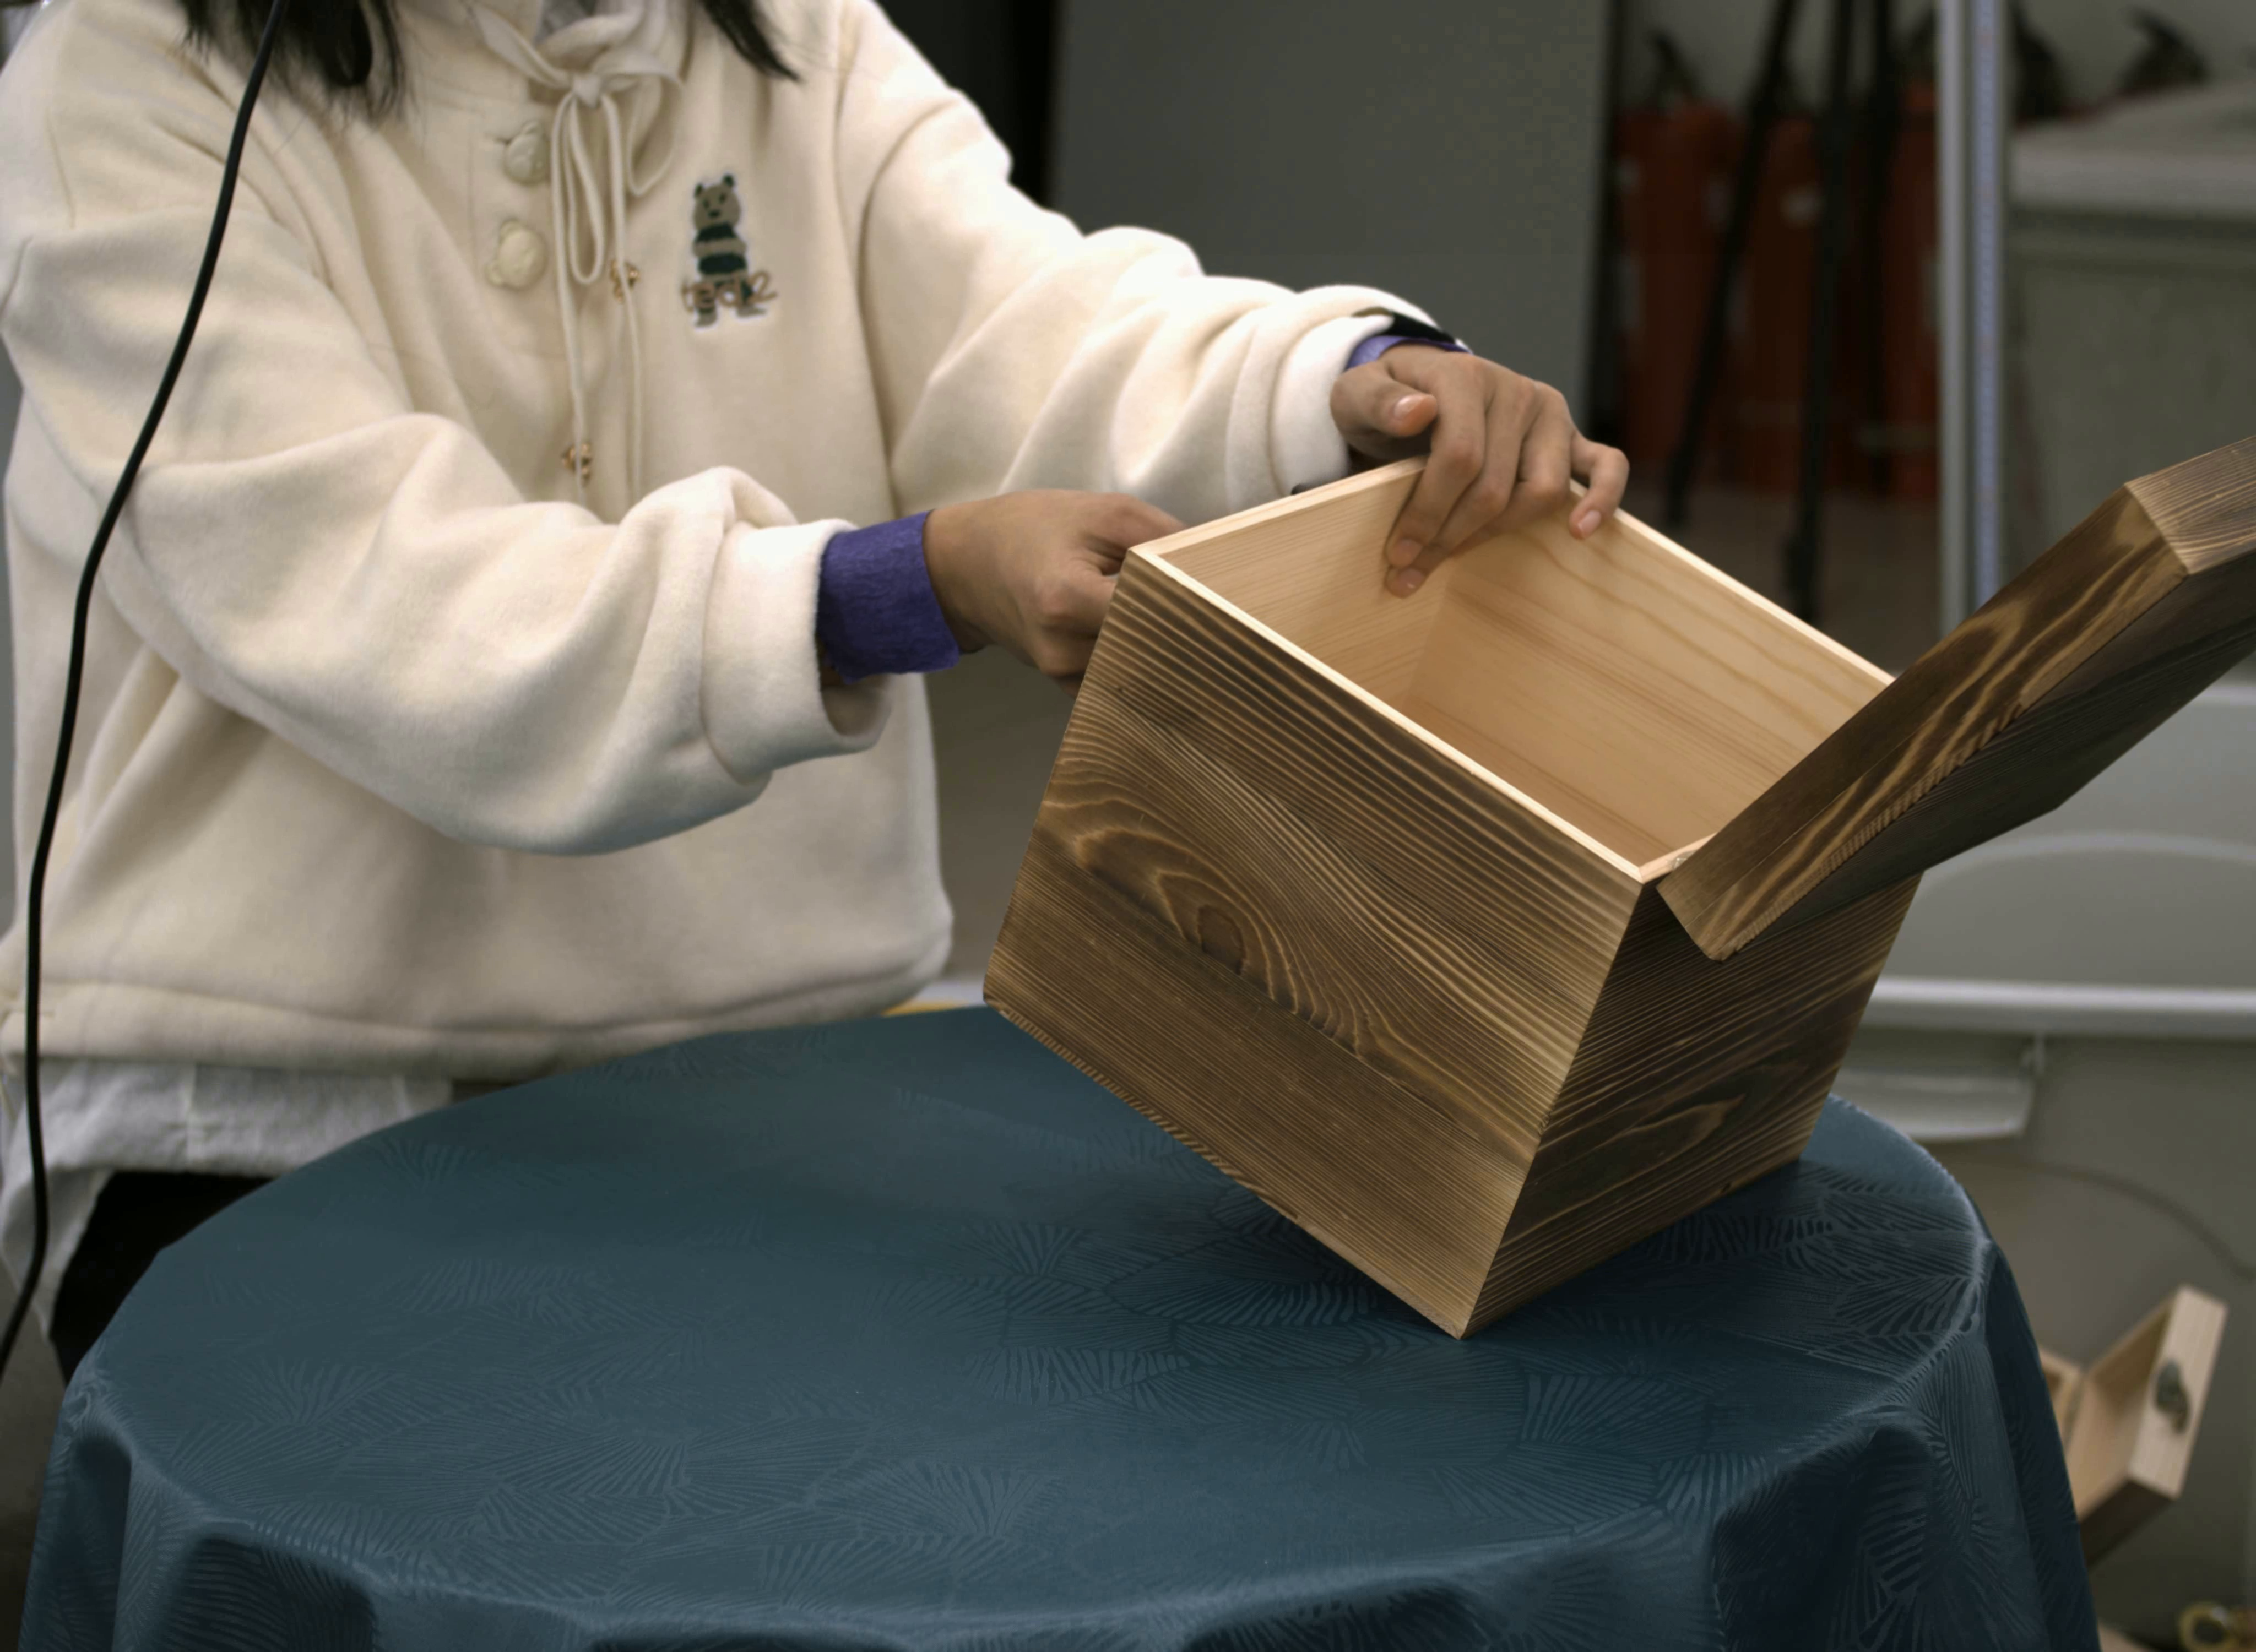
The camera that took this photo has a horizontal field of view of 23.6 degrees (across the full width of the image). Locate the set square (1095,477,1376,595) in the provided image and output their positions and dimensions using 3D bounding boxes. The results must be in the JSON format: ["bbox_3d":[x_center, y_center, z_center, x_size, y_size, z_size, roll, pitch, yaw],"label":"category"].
[{"bbox_3d":[0.023,-0.082,1.714,0.129,0.006,0.062,-24,-10,-44],"label":"set square"}]

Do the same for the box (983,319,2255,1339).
[{"bbox_3d":[0.175,-0.045,1.622,0.324,0.379,0.205,34,31,27],"label":"box"}]
